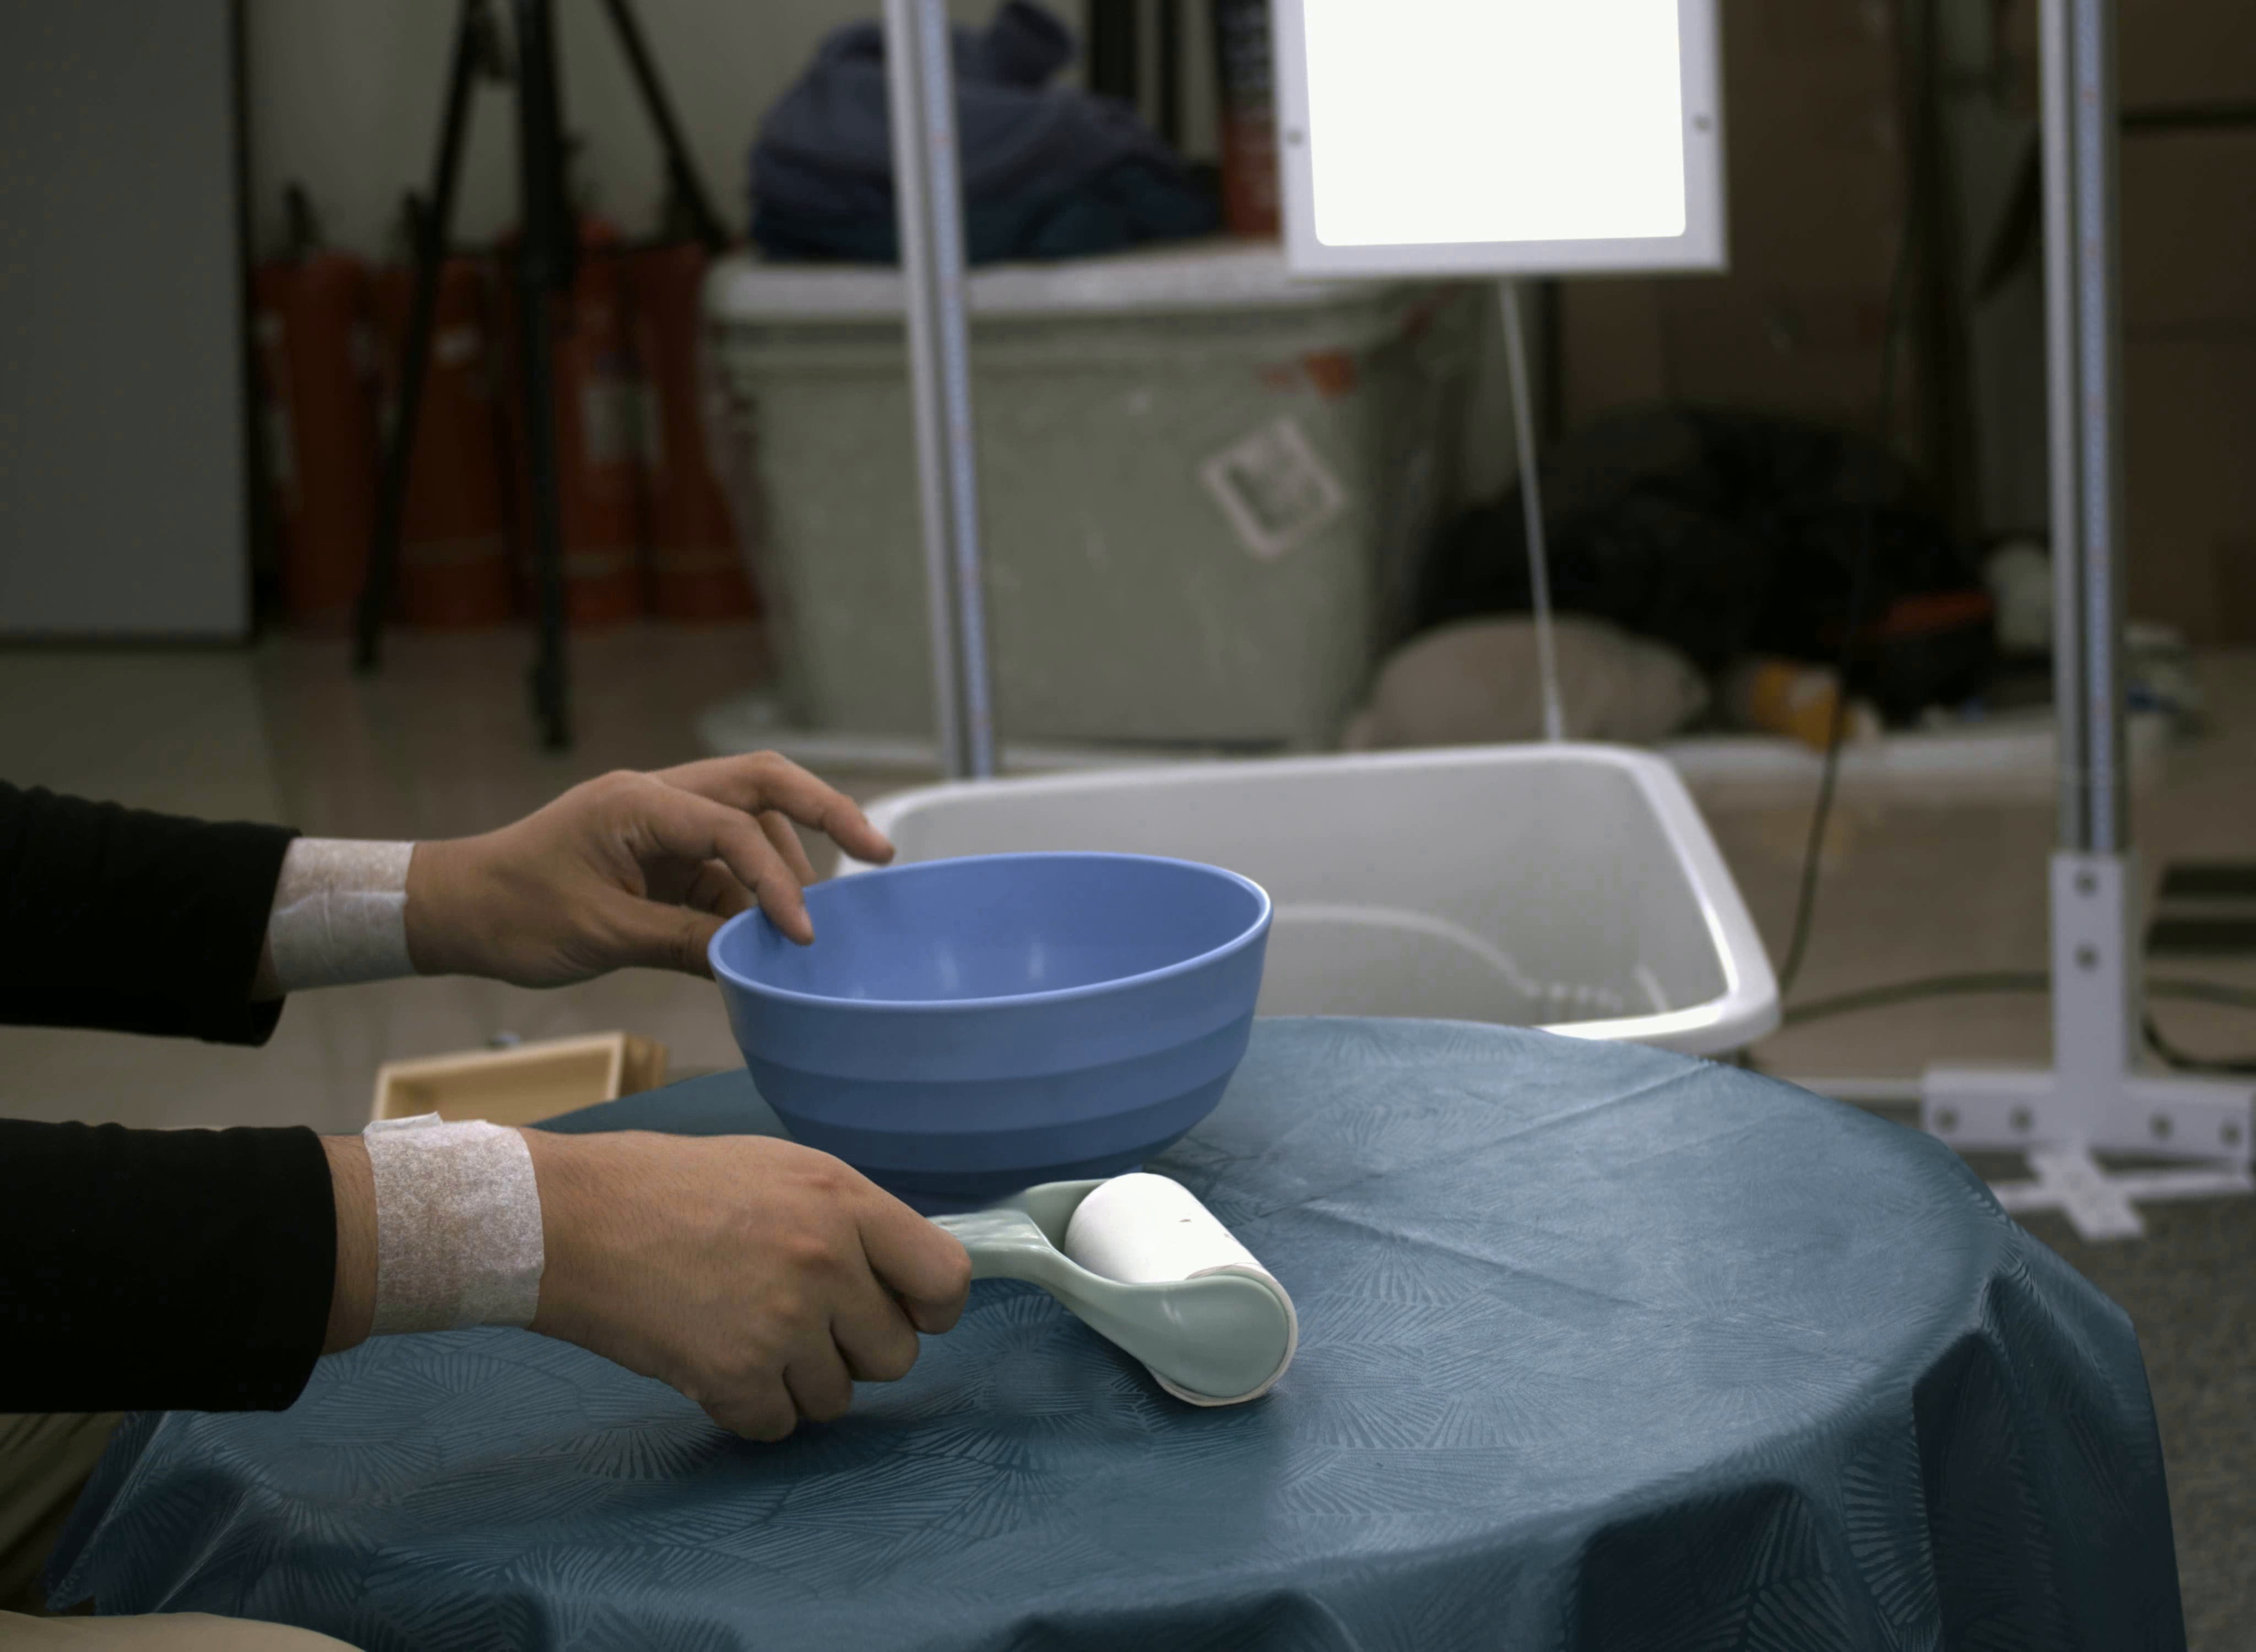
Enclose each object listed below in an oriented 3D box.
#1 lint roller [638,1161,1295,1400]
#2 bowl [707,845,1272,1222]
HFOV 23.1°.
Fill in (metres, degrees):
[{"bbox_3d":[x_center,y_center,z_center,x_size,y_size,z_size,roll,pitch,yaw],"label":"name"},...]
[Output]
[{"bbox_3d":[-0.056,0.145,1.712,0.195,0.049,0.118,-3,14,-15],"label":"lint roller"},{"bbox_3d":[-0.045,0.078,1.911,0.196,0.096,0.196,-5,15,0],"label":"bowl"}]
